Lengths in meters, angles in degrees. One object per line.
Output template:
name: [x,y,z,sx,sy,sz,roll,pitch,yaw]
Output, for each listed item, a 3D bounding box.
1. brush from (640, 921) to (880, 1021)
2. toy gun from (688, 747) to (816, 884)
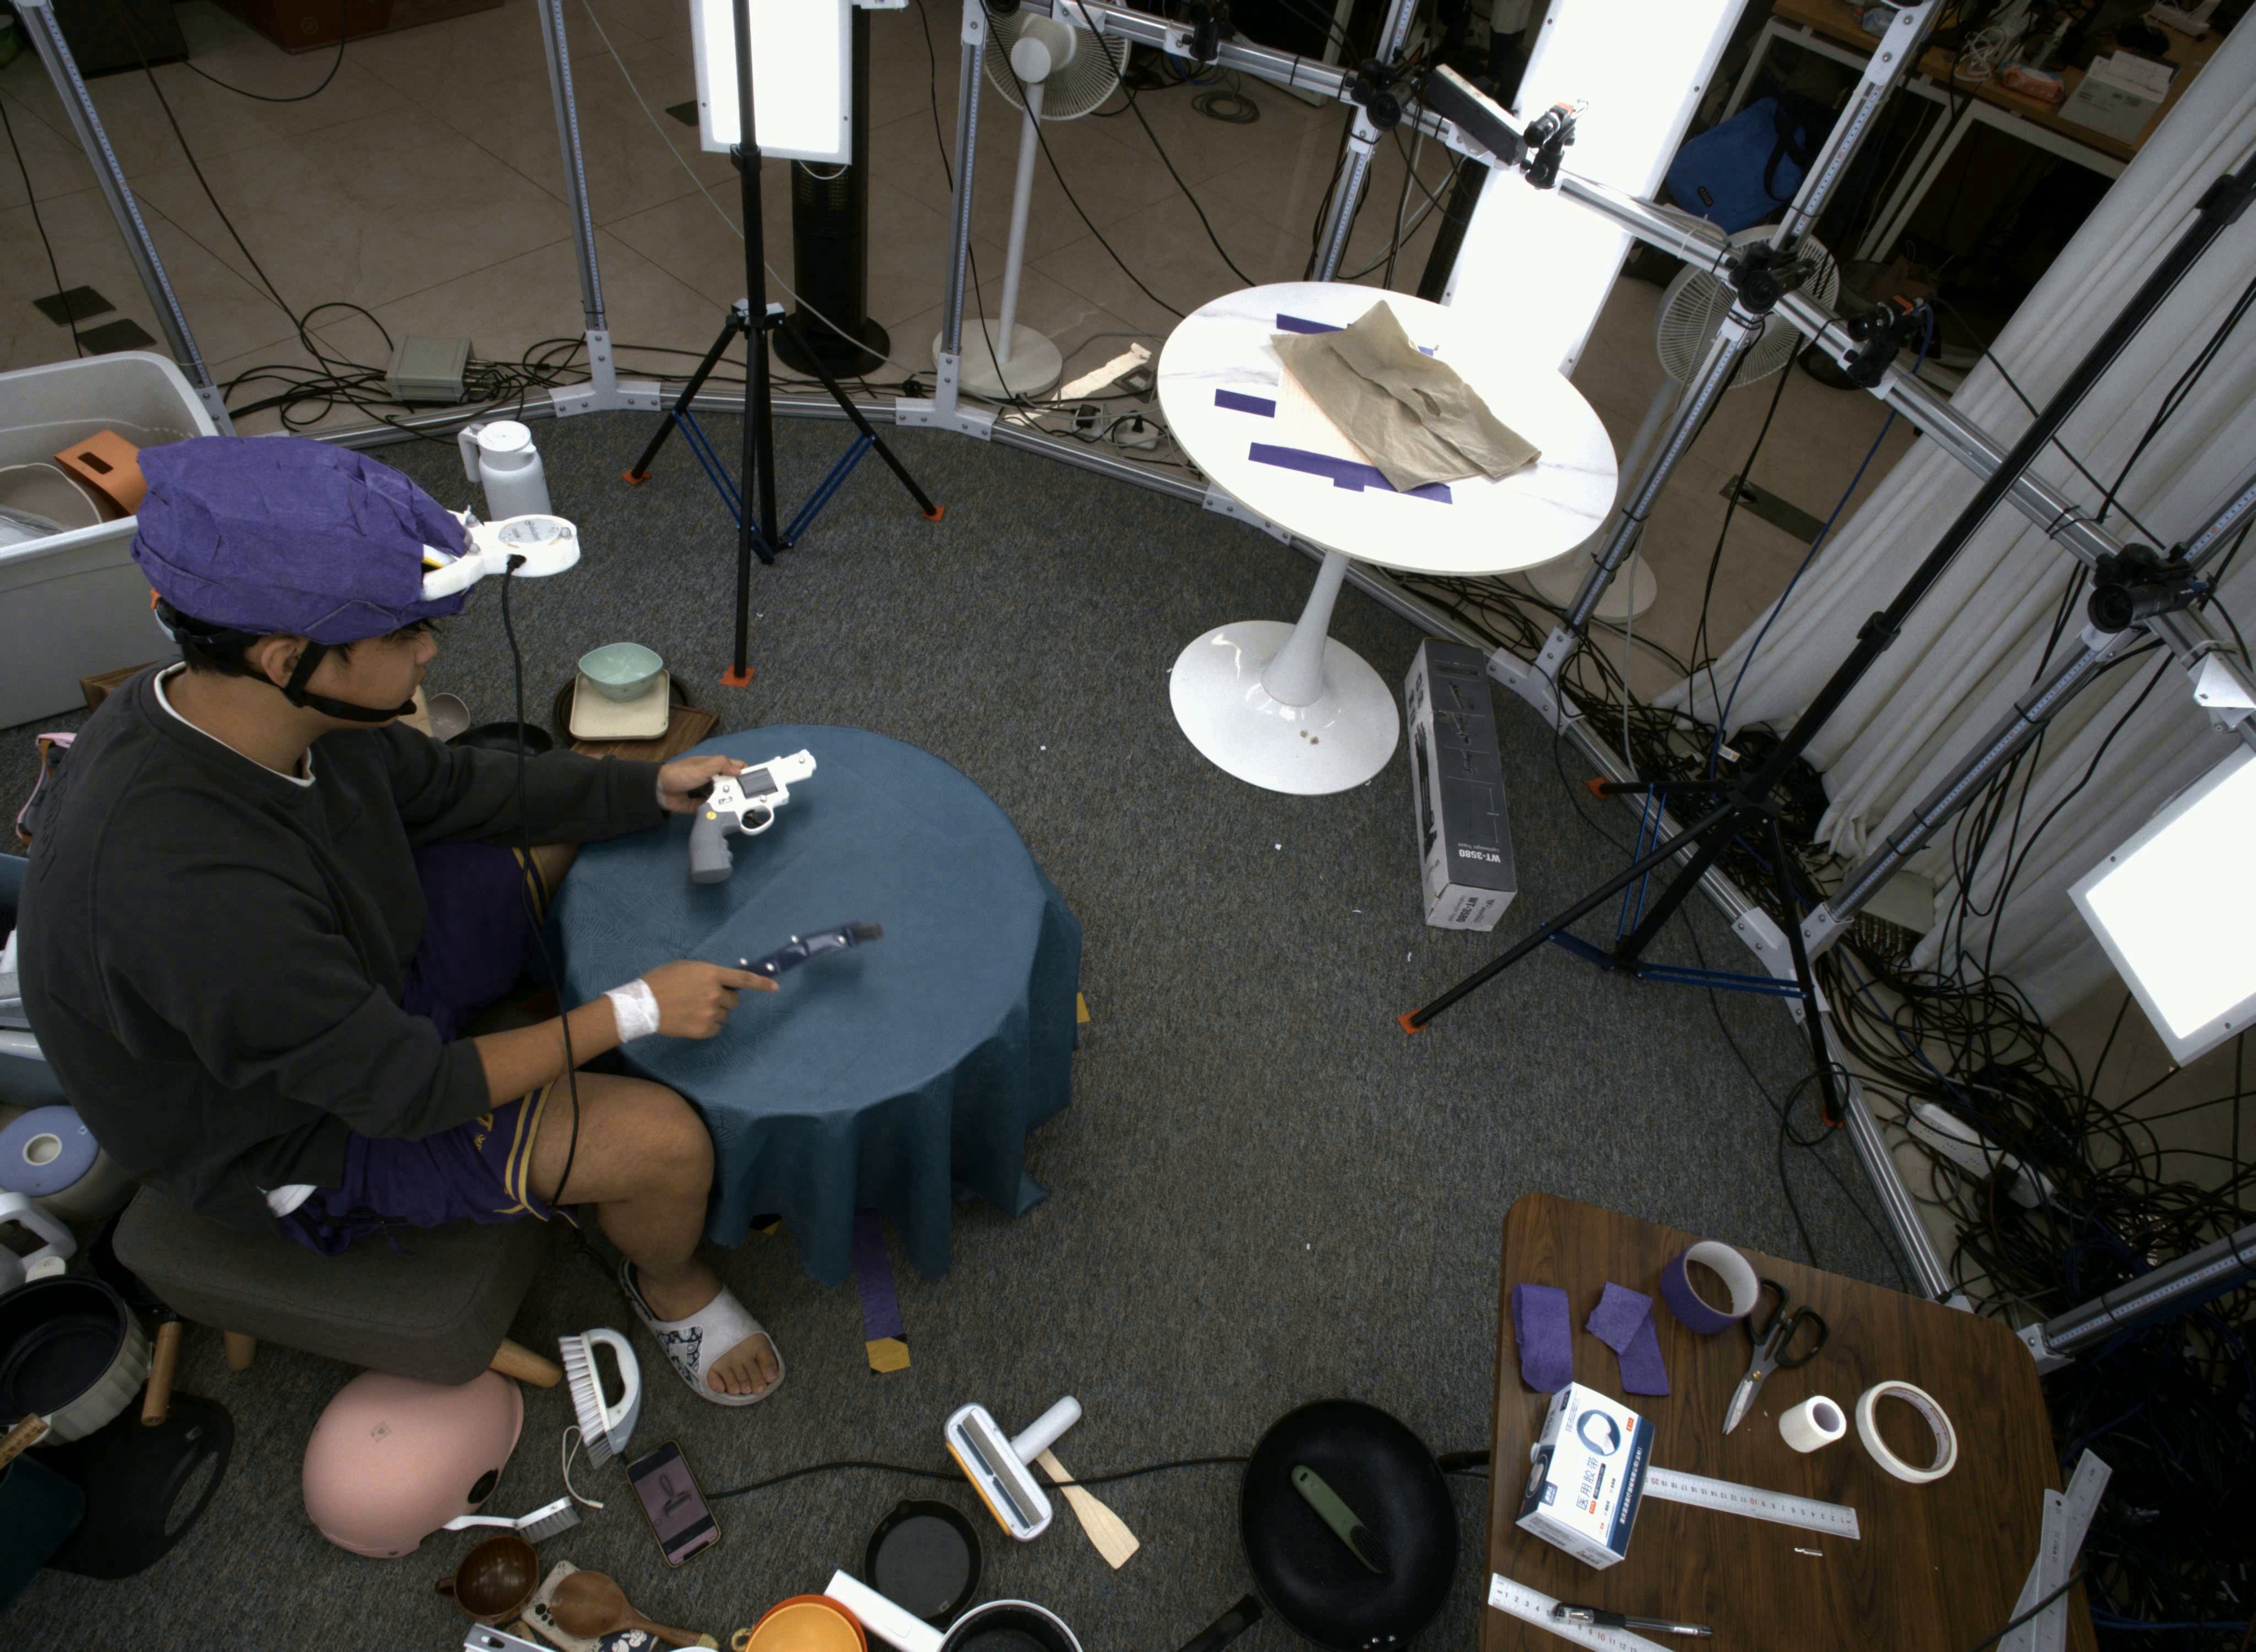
brush: [-0.430,0.162,1.511,0.274,0.034,0.092,-24,22,-30]
toy gun: [-0.480,-0.019,1.652,0.210,0.039,0.139,-21,68,-28]
